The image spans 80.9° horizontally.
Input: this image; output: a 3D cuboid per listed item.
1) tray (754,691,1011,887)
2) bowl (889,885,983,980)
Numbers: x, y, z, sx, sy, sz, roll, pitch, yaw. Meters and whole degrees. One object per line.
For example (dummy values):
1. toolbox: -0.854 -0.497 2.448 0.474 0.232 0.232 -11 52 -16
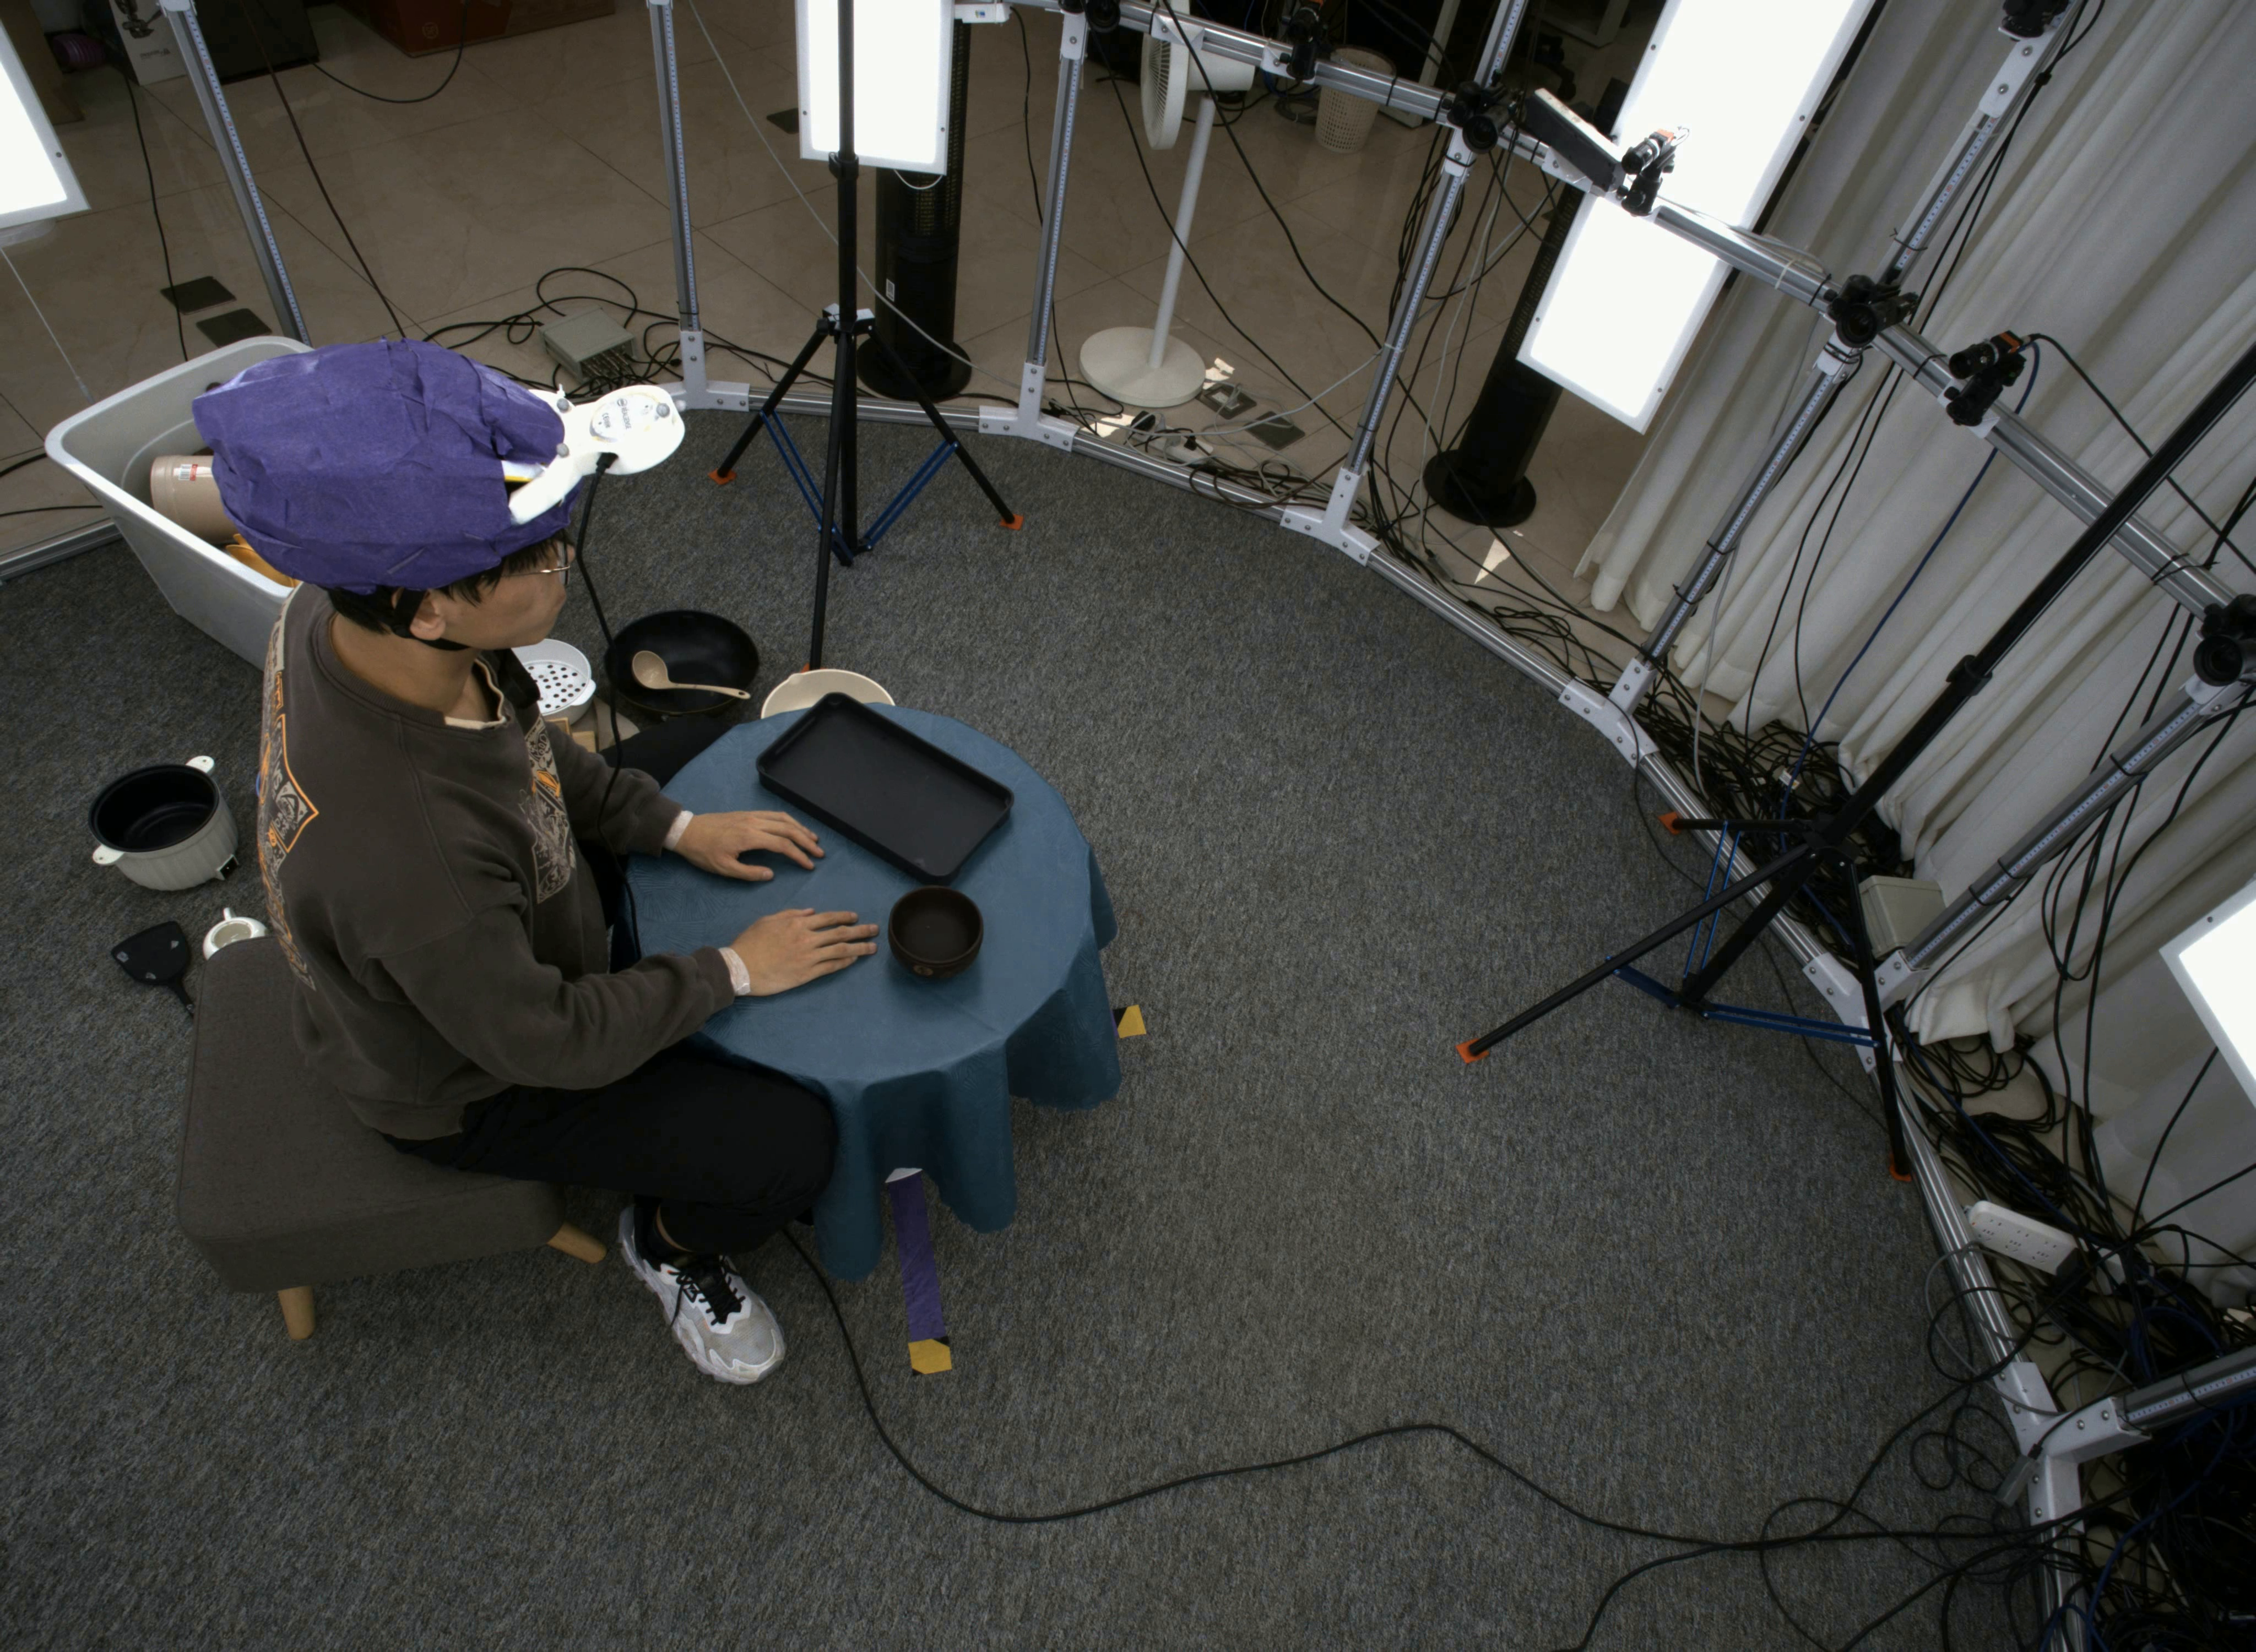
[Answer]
1. tray: -0.334 -0.054 1.778 0.313 0.038 0.183 29 54 8
2. bowl: -0.241 0.139 1.635 0.117 0.071 0.116 6 54 -7
